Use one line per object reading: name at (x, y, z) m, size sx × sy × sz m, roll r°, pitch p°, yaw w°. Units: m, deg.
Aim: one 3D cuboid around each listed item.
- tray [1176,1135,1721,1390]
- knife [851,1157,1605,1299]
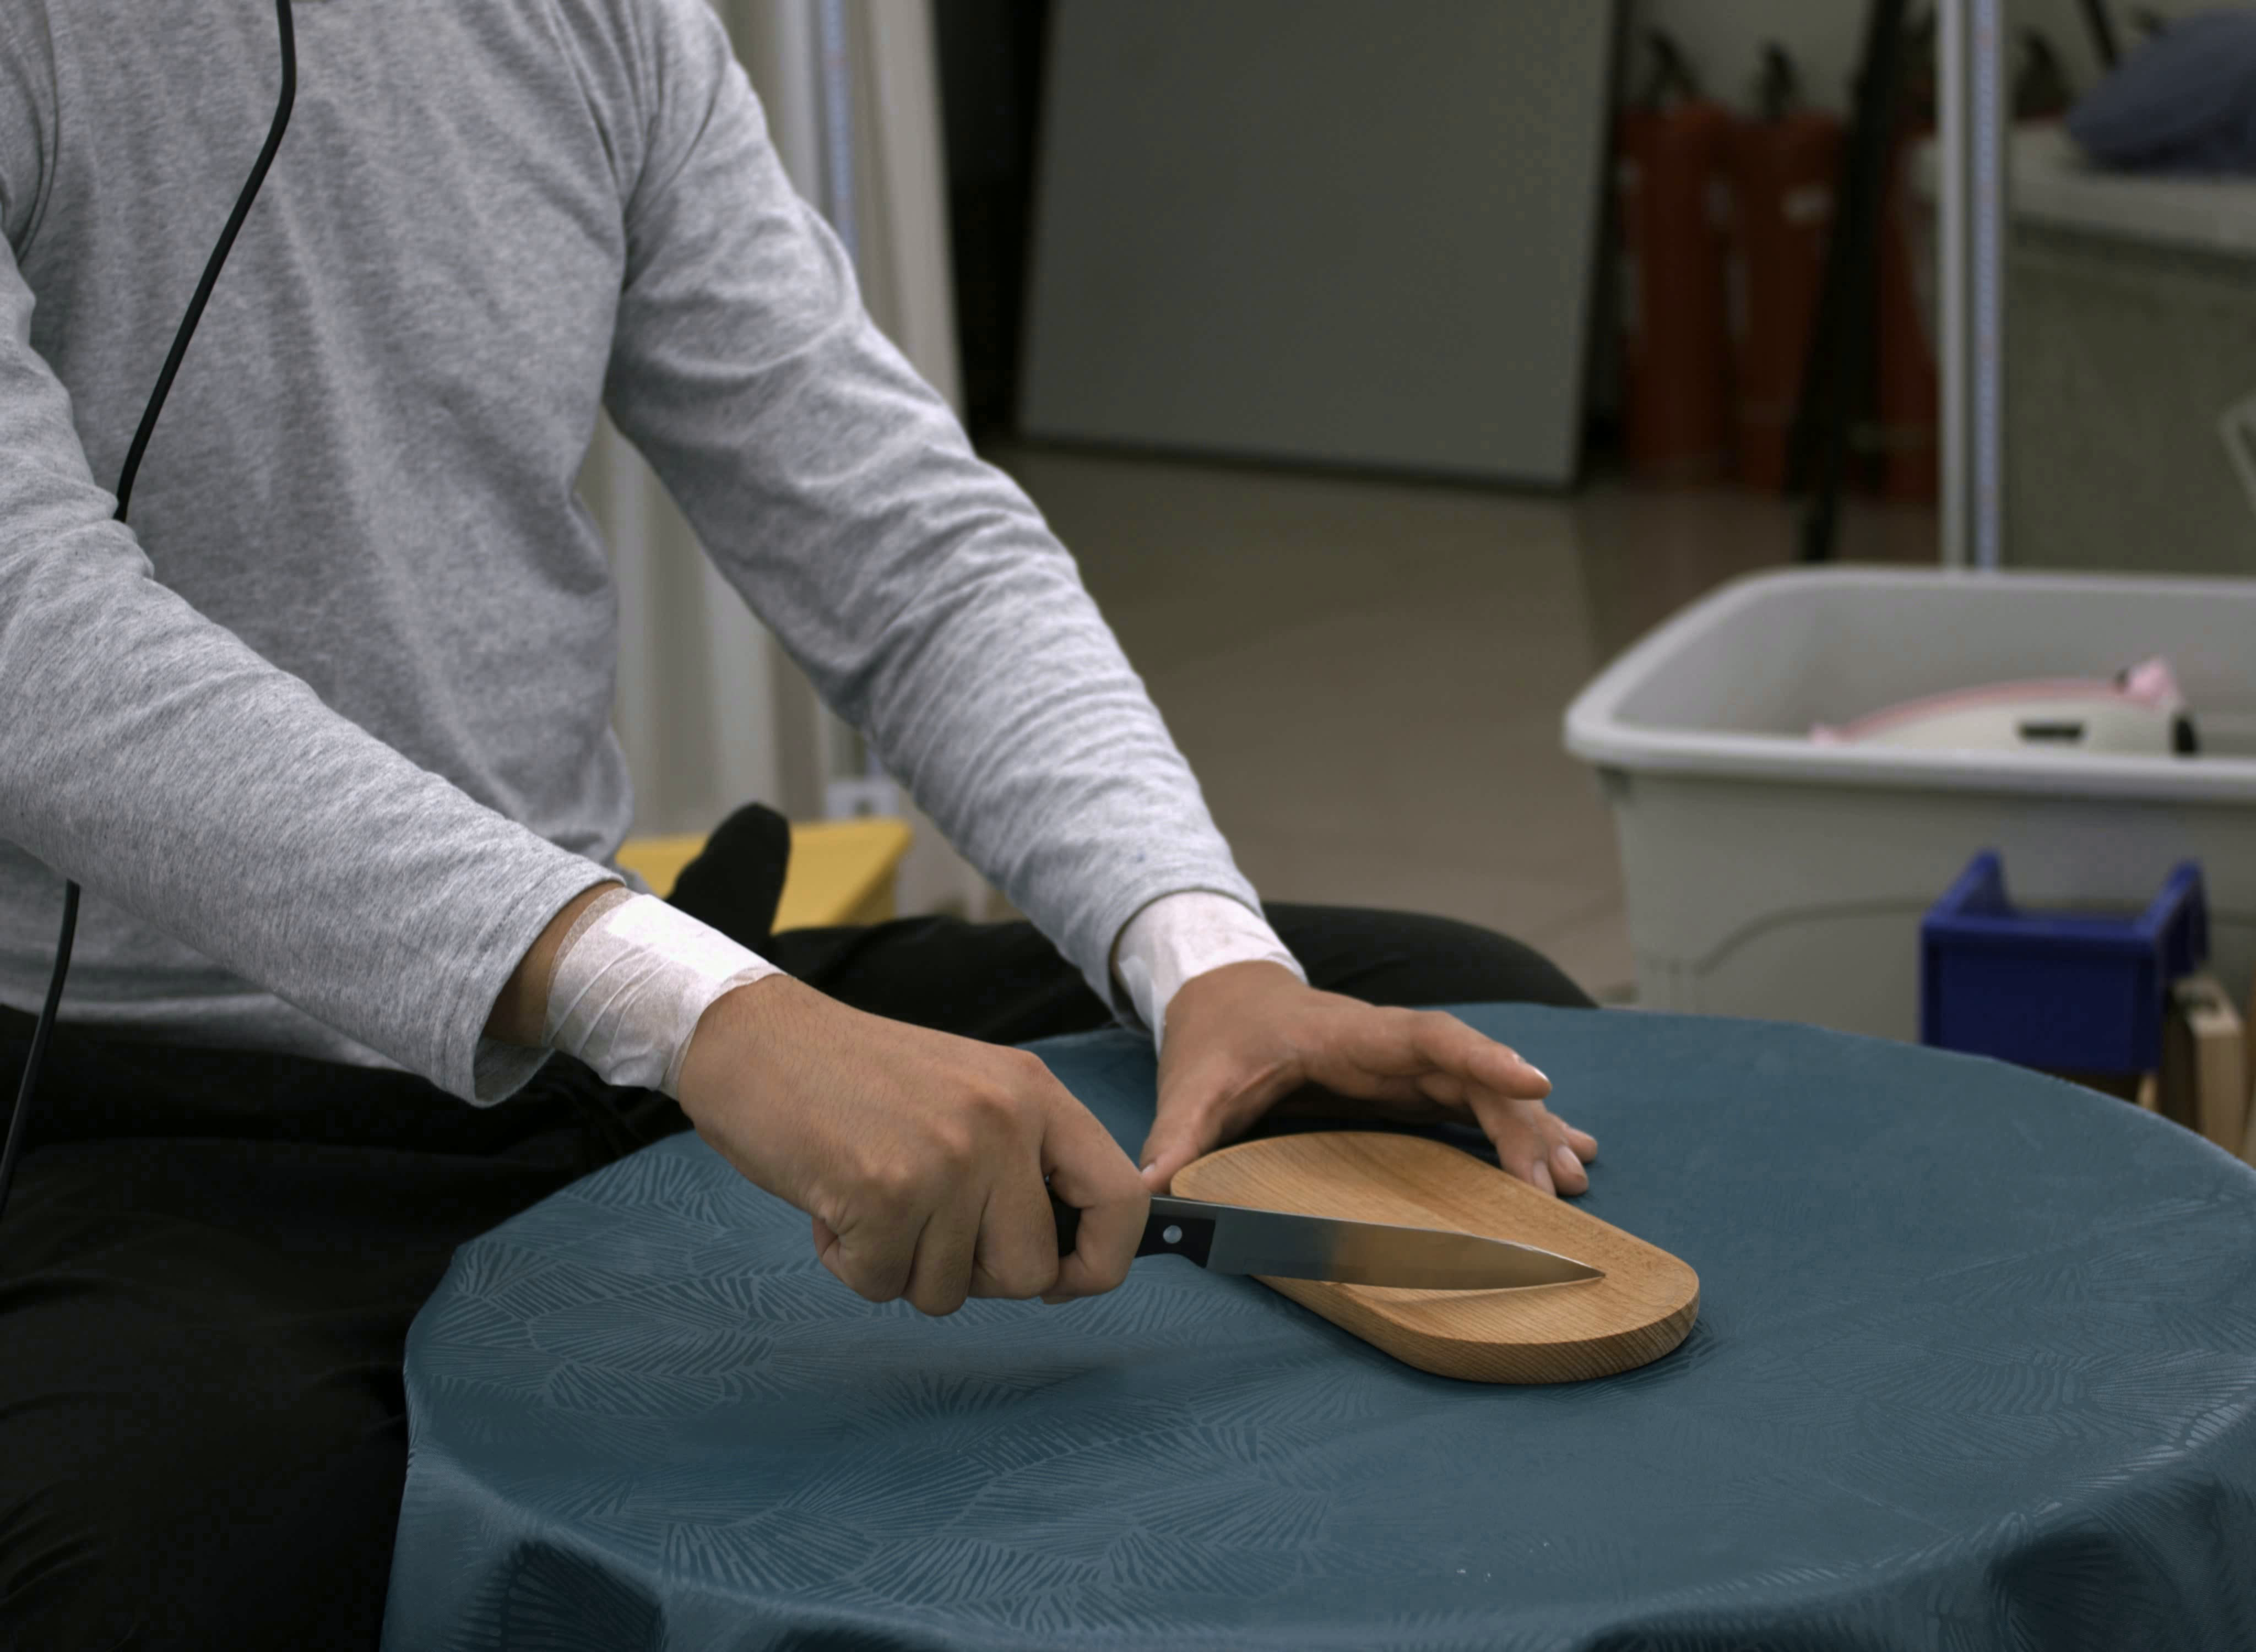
tray at (0.096, 0.133, 1.666) m, size 0.099 × 0.020 × 0.233 m, roll -13°, pitch 18°, yaw -25°
knife at (0.033, 0.121, 1.611) m, size 0.234 × 0.025 × 0.016 m, roll 8°, pitch 16°, yaw -12°
